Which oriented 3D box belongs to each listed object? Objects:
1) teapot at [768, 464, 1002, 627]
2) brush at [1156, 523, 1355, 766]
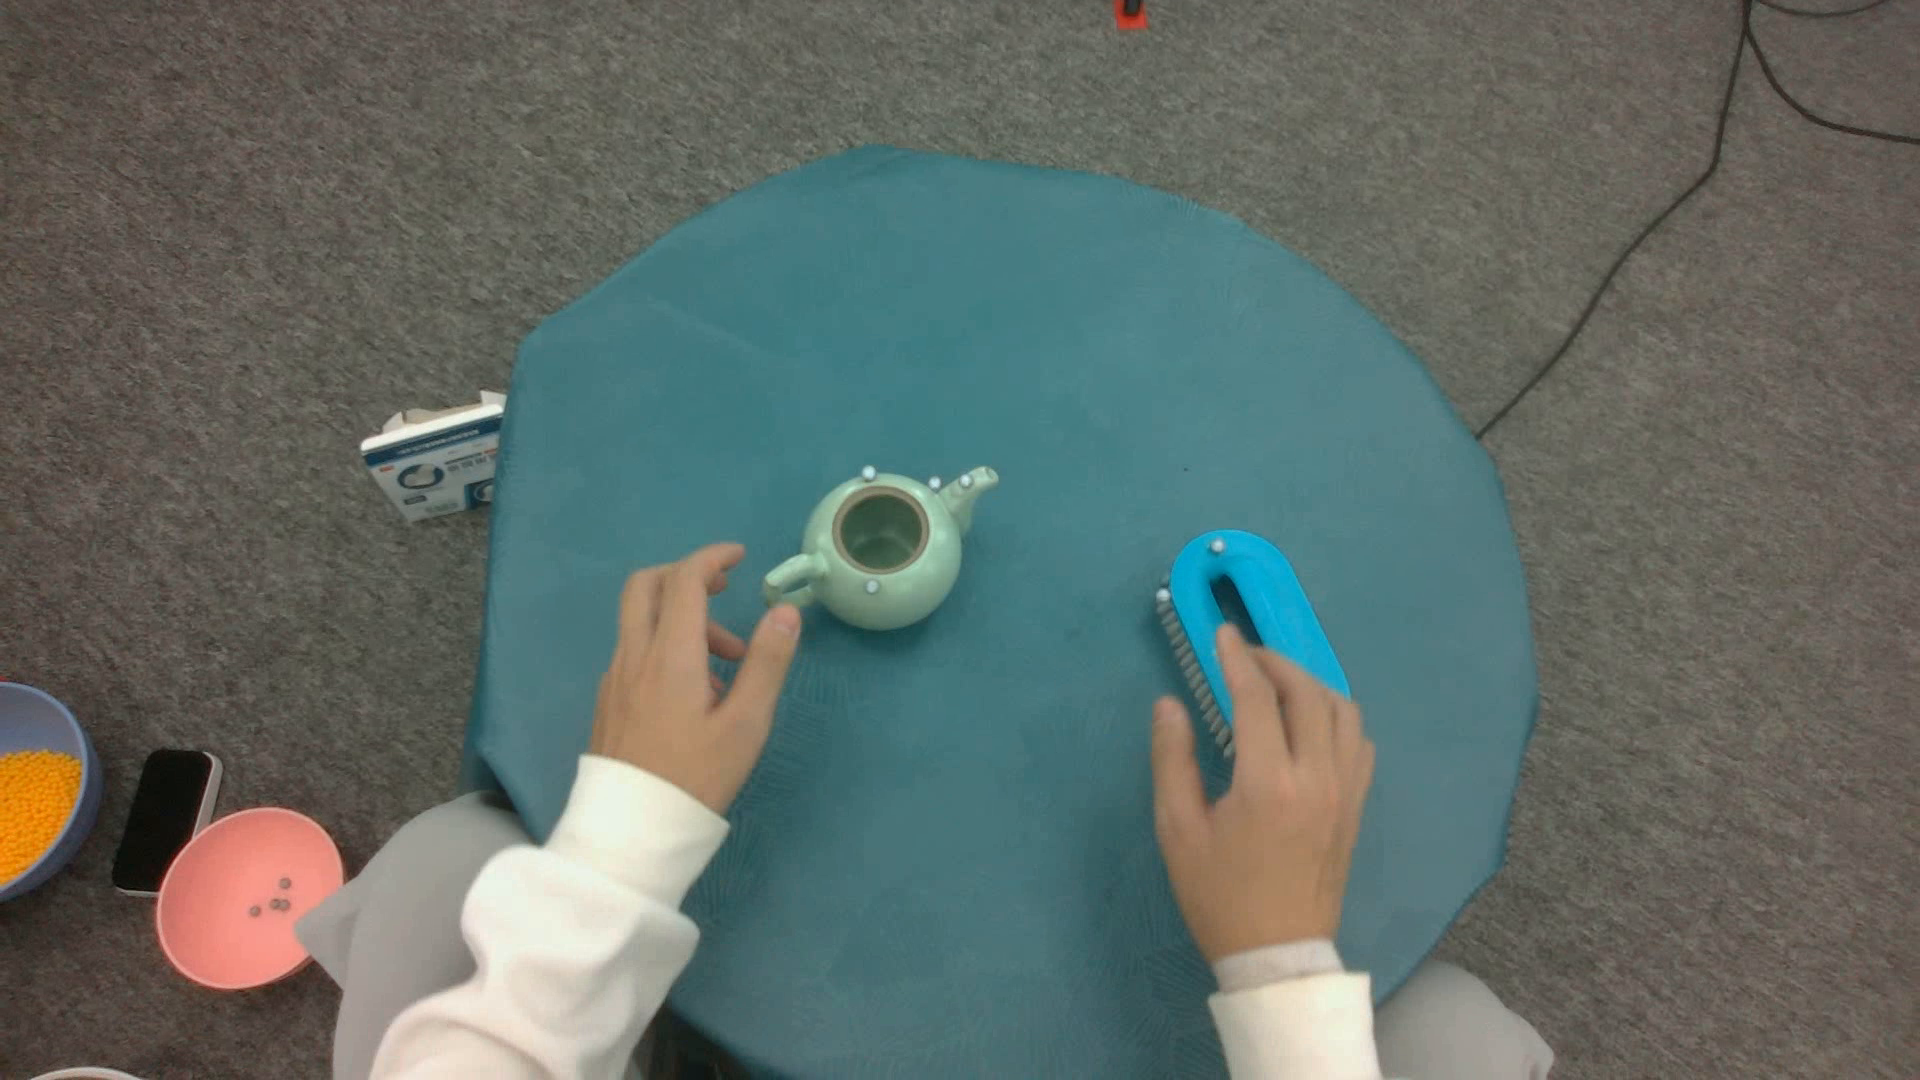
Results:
[{"bbox_3d":[-0.042,0.005,0.772,0.144,0.074,0.088,-25,70,-16],"label":"teapot"},{"bbox_3d":[0.168,0.050,0.764,0.084,0.063,0.142,-14,68,-14],"label":"brush"}]
